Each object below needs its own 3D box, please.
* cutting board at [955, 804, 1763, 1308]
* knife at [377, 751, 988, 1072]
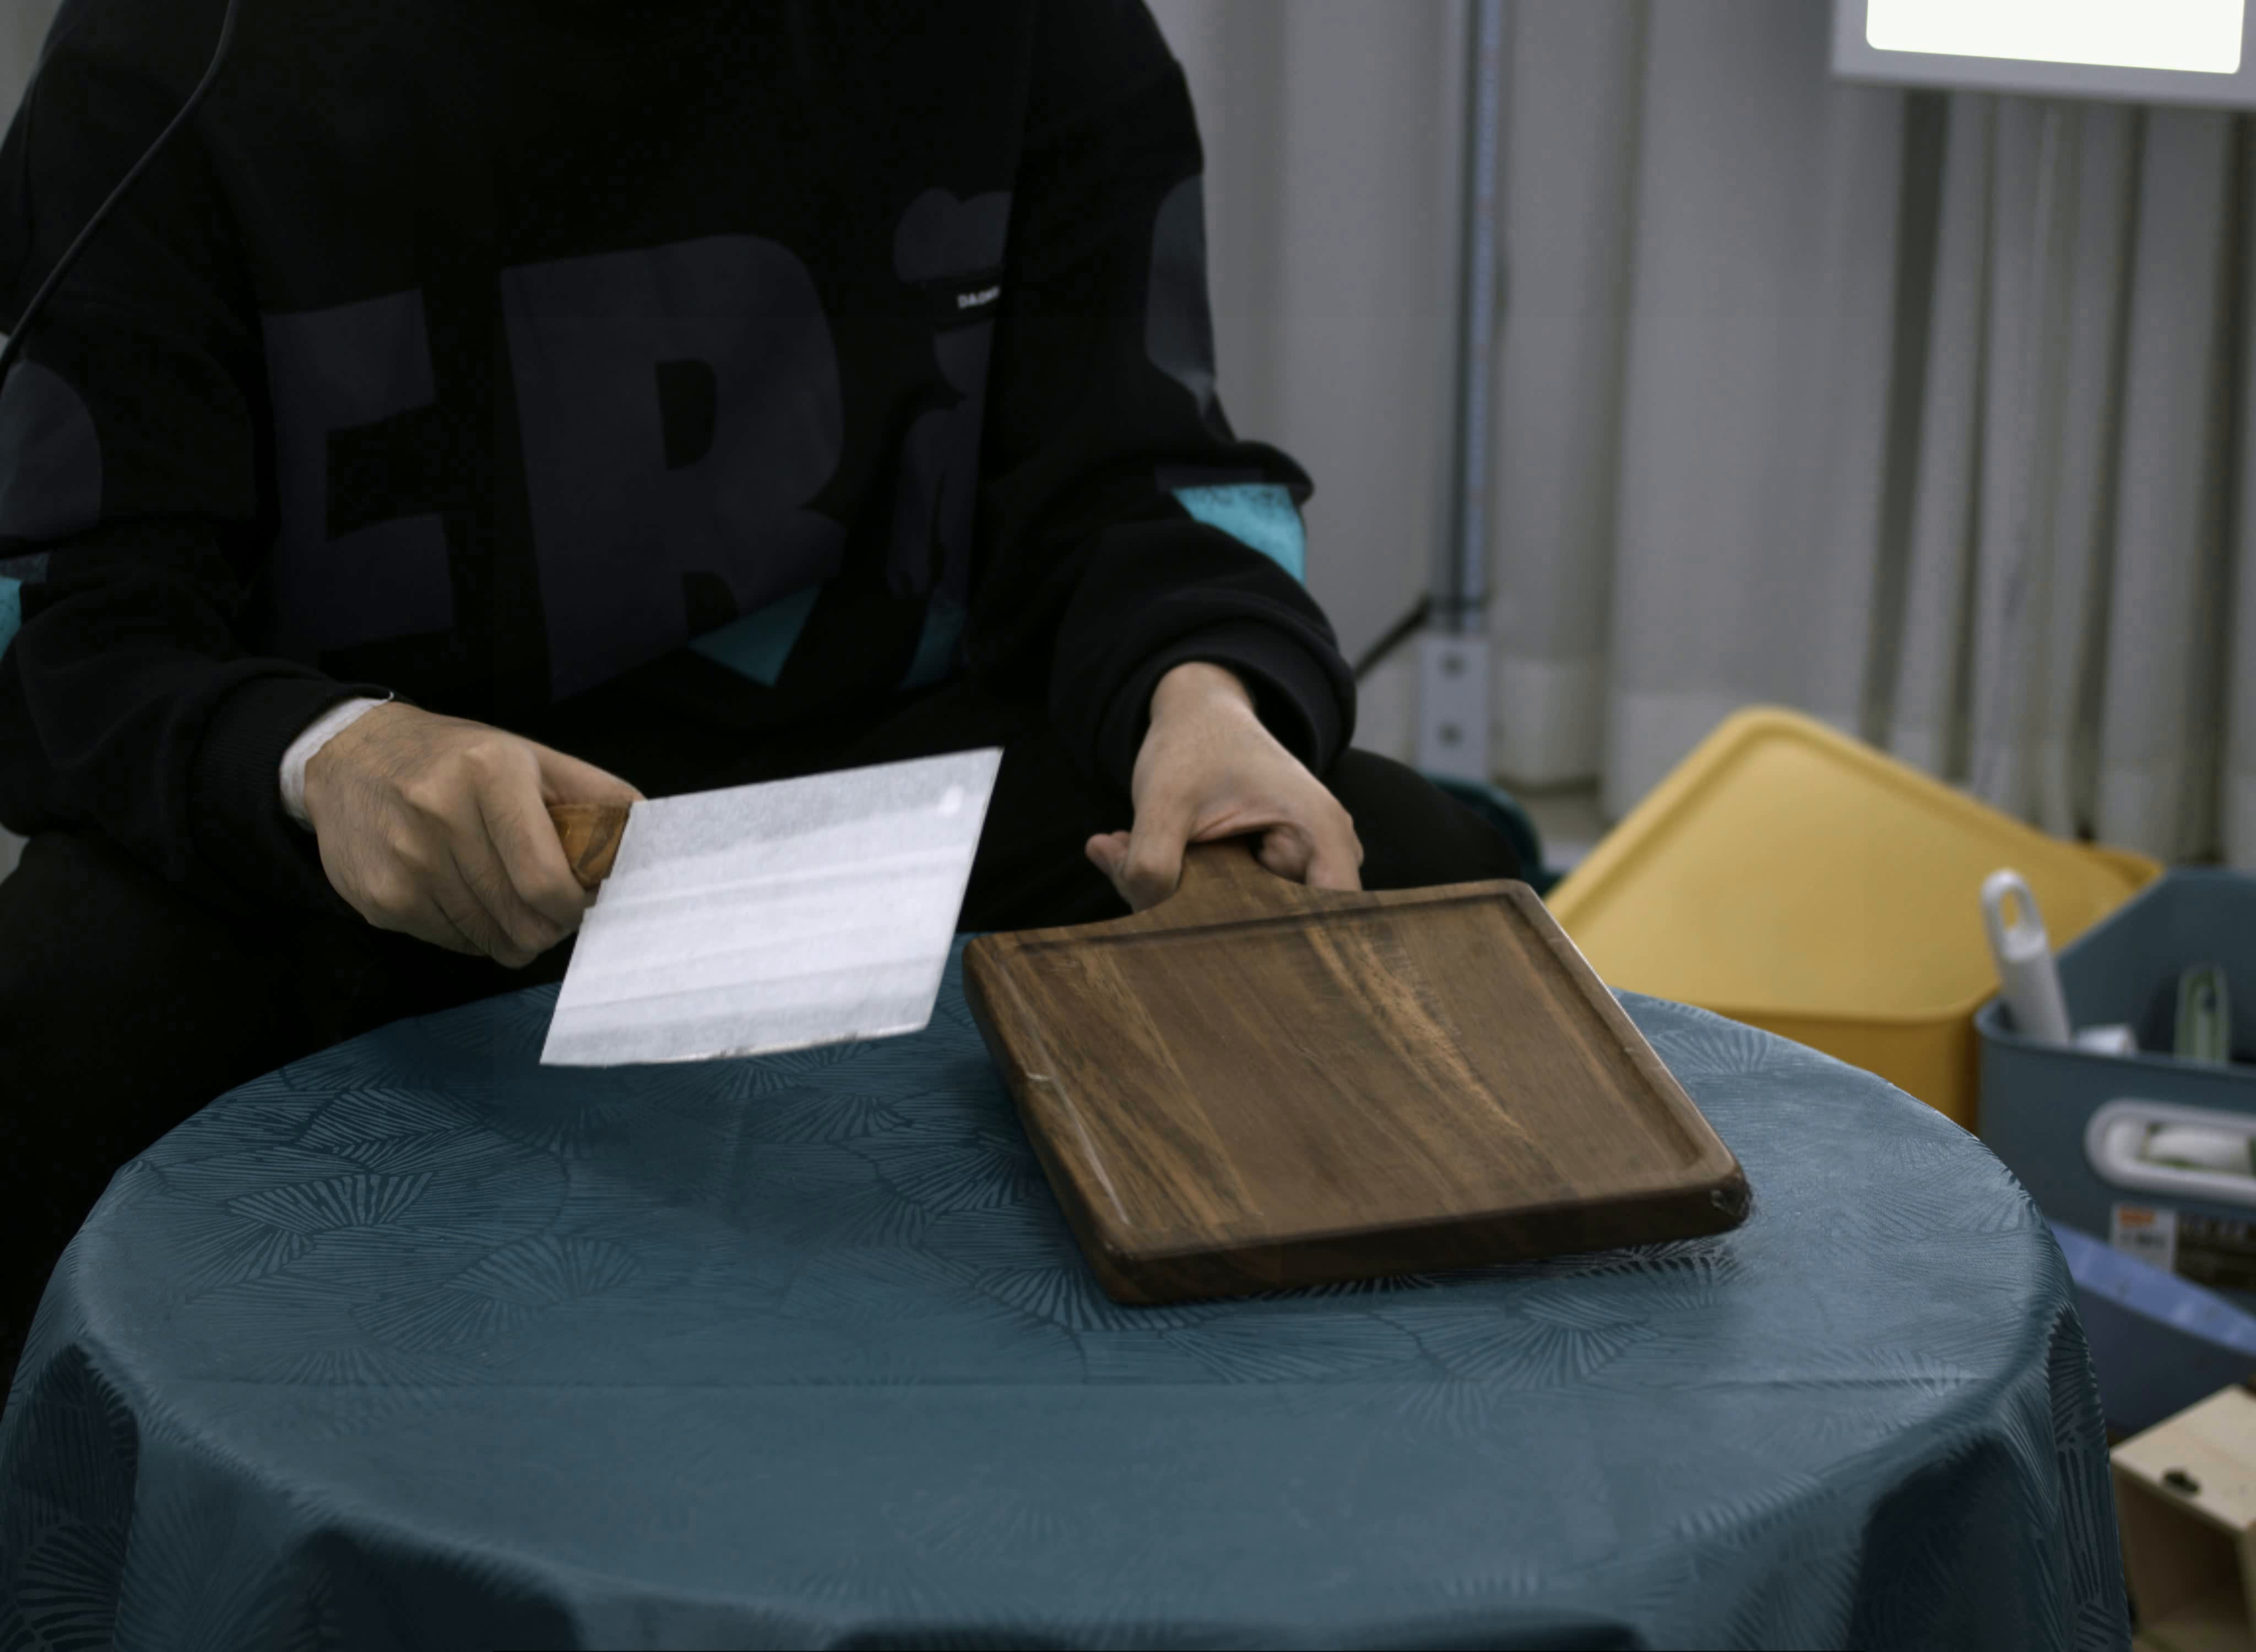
[{"bbox_3d":[0.055,0.062,1.692,0.201,0.023,0.348,-5,22,-12],"label":"cutting board"},{"bbox_3d":[-0.148,0.031,1.630,0.021,0.093,0.303,28,-22,-36],"label":"knife"}]
